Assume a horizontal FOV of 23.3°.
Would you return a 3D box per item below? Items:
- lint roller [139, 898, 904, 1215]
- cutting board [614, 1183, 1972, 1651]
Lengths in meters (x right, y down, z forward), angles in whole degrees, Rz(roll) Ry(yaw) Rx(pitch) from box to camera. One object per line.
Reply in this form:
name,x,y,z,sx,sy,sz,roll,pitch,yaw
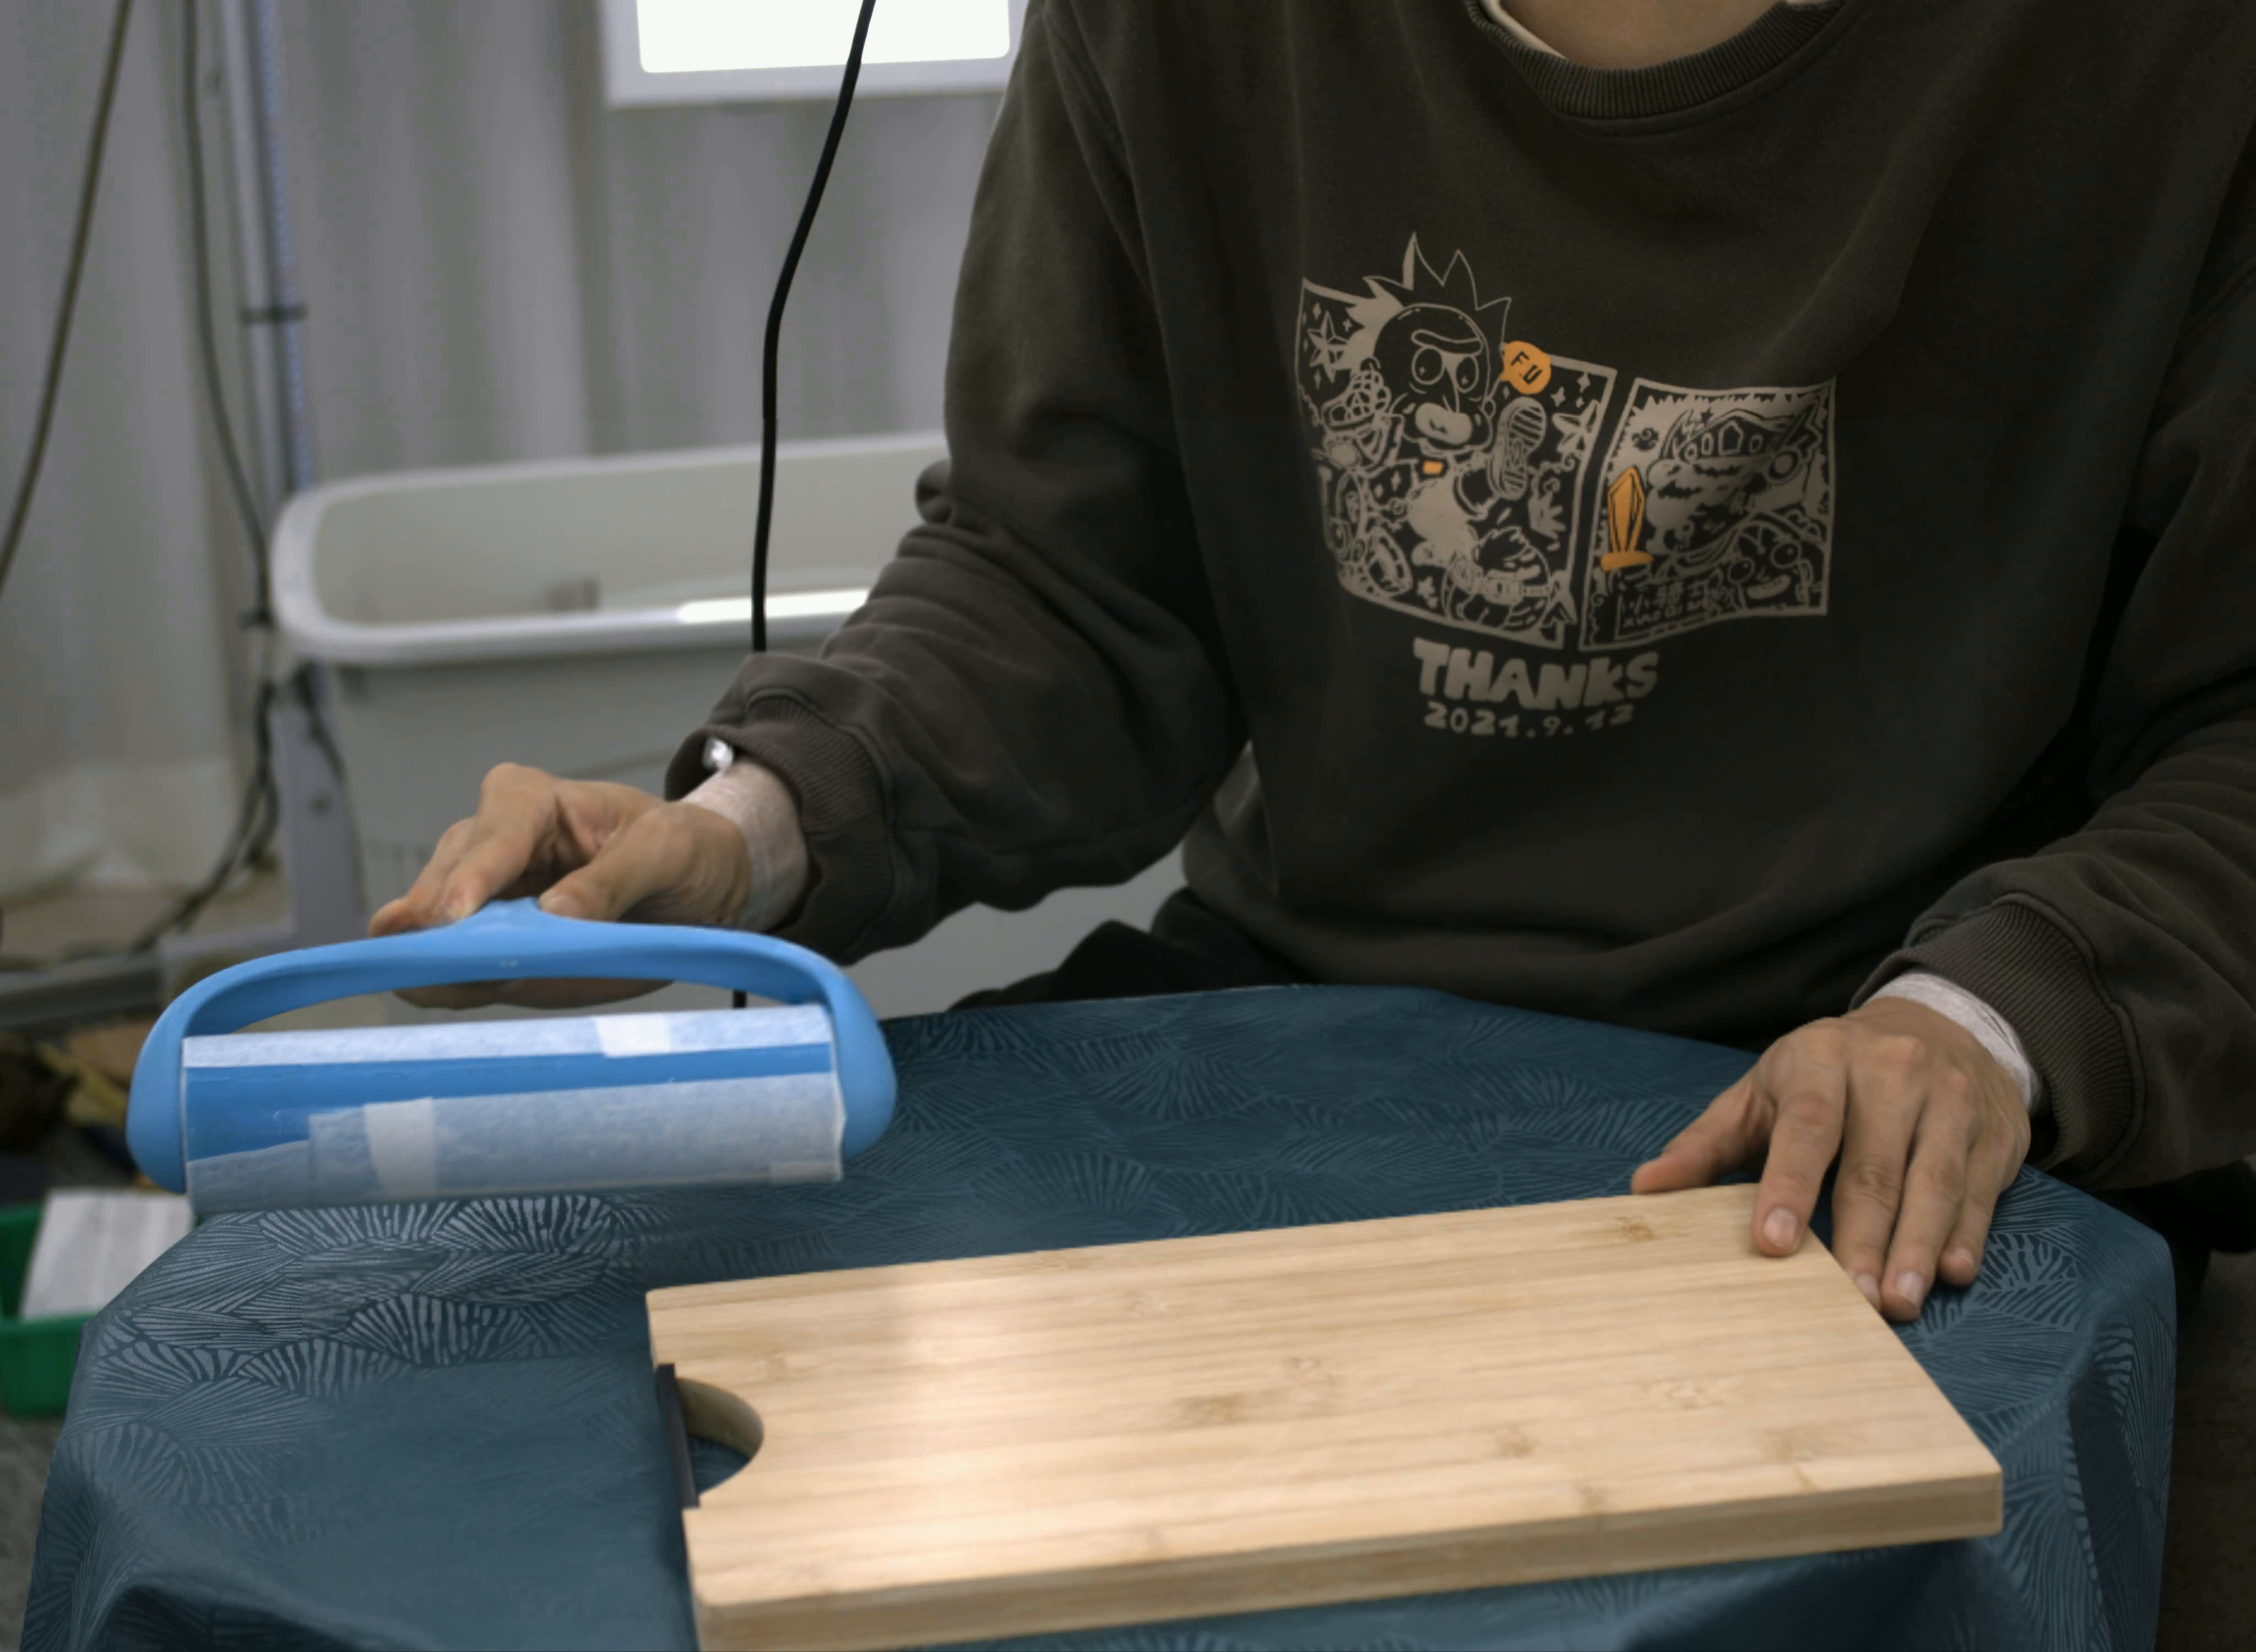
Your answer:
lint roller,-0.190,0.056,1.695,0.228,0.067,0.182,-5,28,-7
cutting board,0.037,0.162,1.510,0.347,0.023,0.252,-5,15,-8
